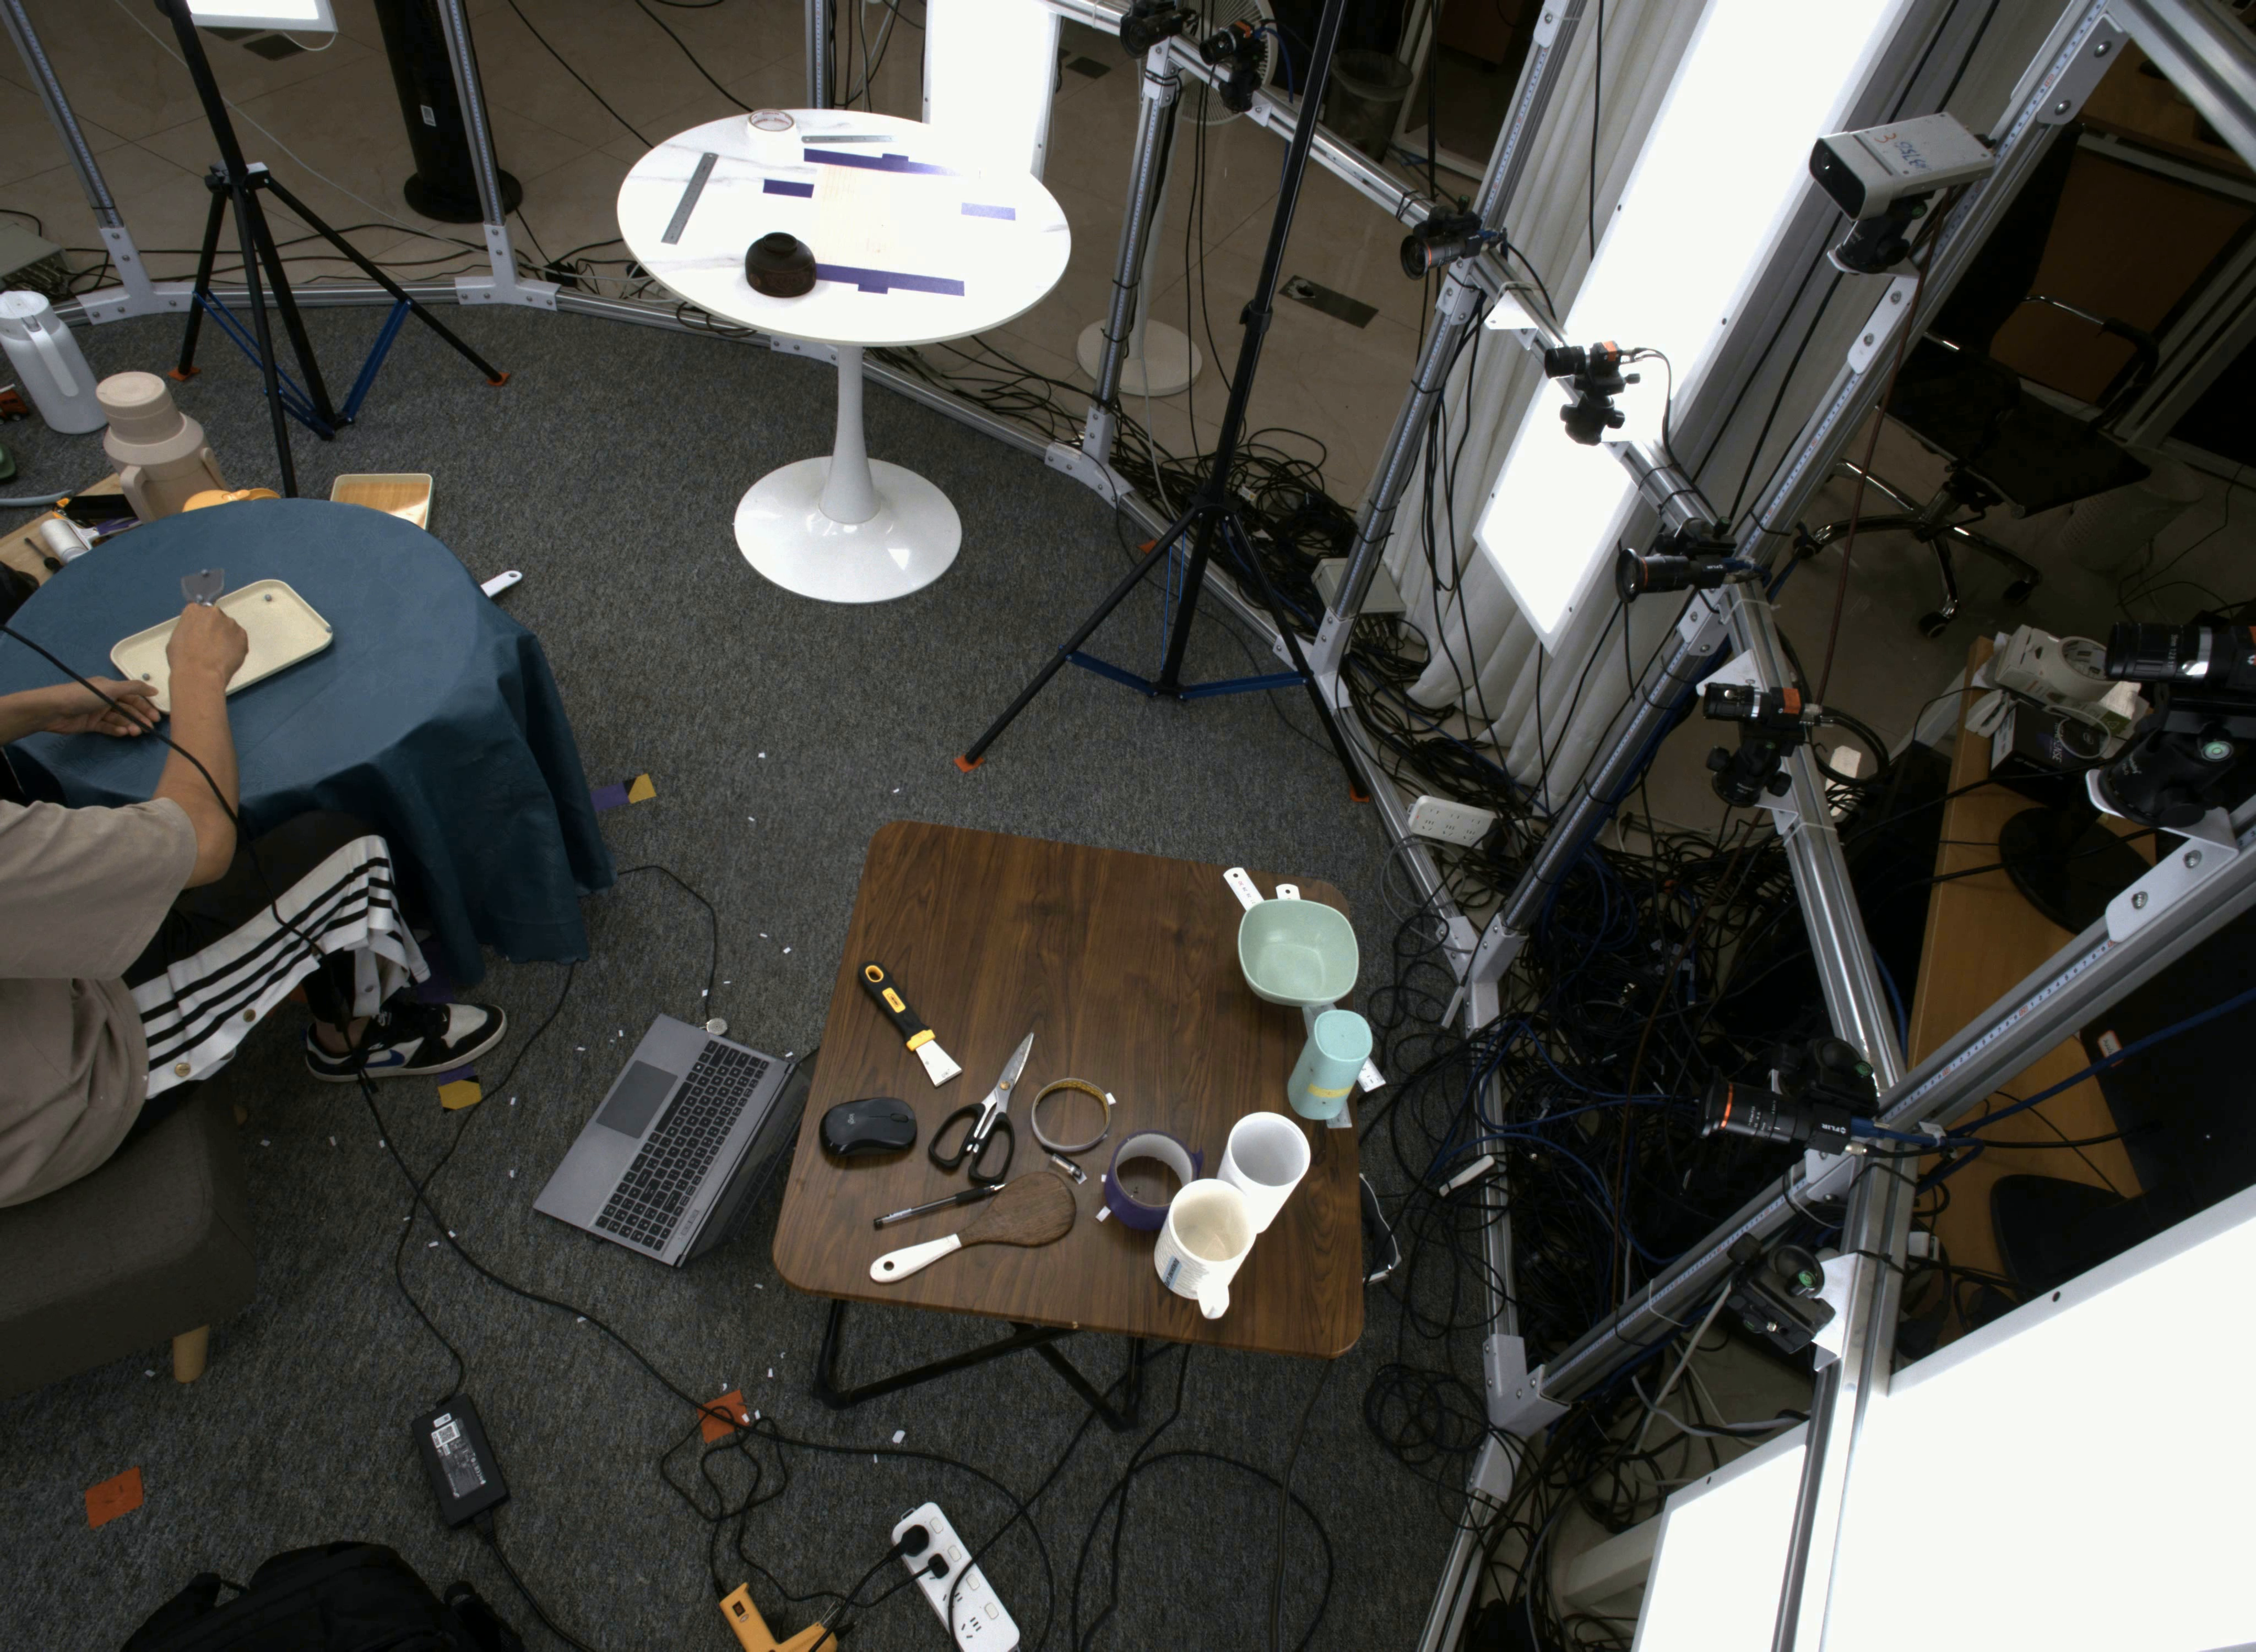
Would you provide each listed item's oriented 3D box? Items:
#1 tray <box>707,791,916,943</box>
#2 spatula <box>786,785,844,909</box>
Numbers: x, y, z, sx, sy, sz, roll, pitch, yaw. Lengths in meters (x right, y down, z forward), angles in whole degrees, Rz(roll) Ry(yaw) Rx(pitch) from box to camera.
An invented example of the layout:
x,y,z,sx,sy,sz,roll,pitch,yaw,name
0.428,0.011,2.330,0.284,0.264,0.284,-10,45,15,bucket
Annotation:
x,y,z,sx,sy,sz,roll,pitch,yaw,name
-0.411,0.050,1.689,0.240,0.018,0.167,-25,62,-28,tray
-0.374,0.017,1.562,0.058,0.033,0.278,-13,30,-13,spatula
